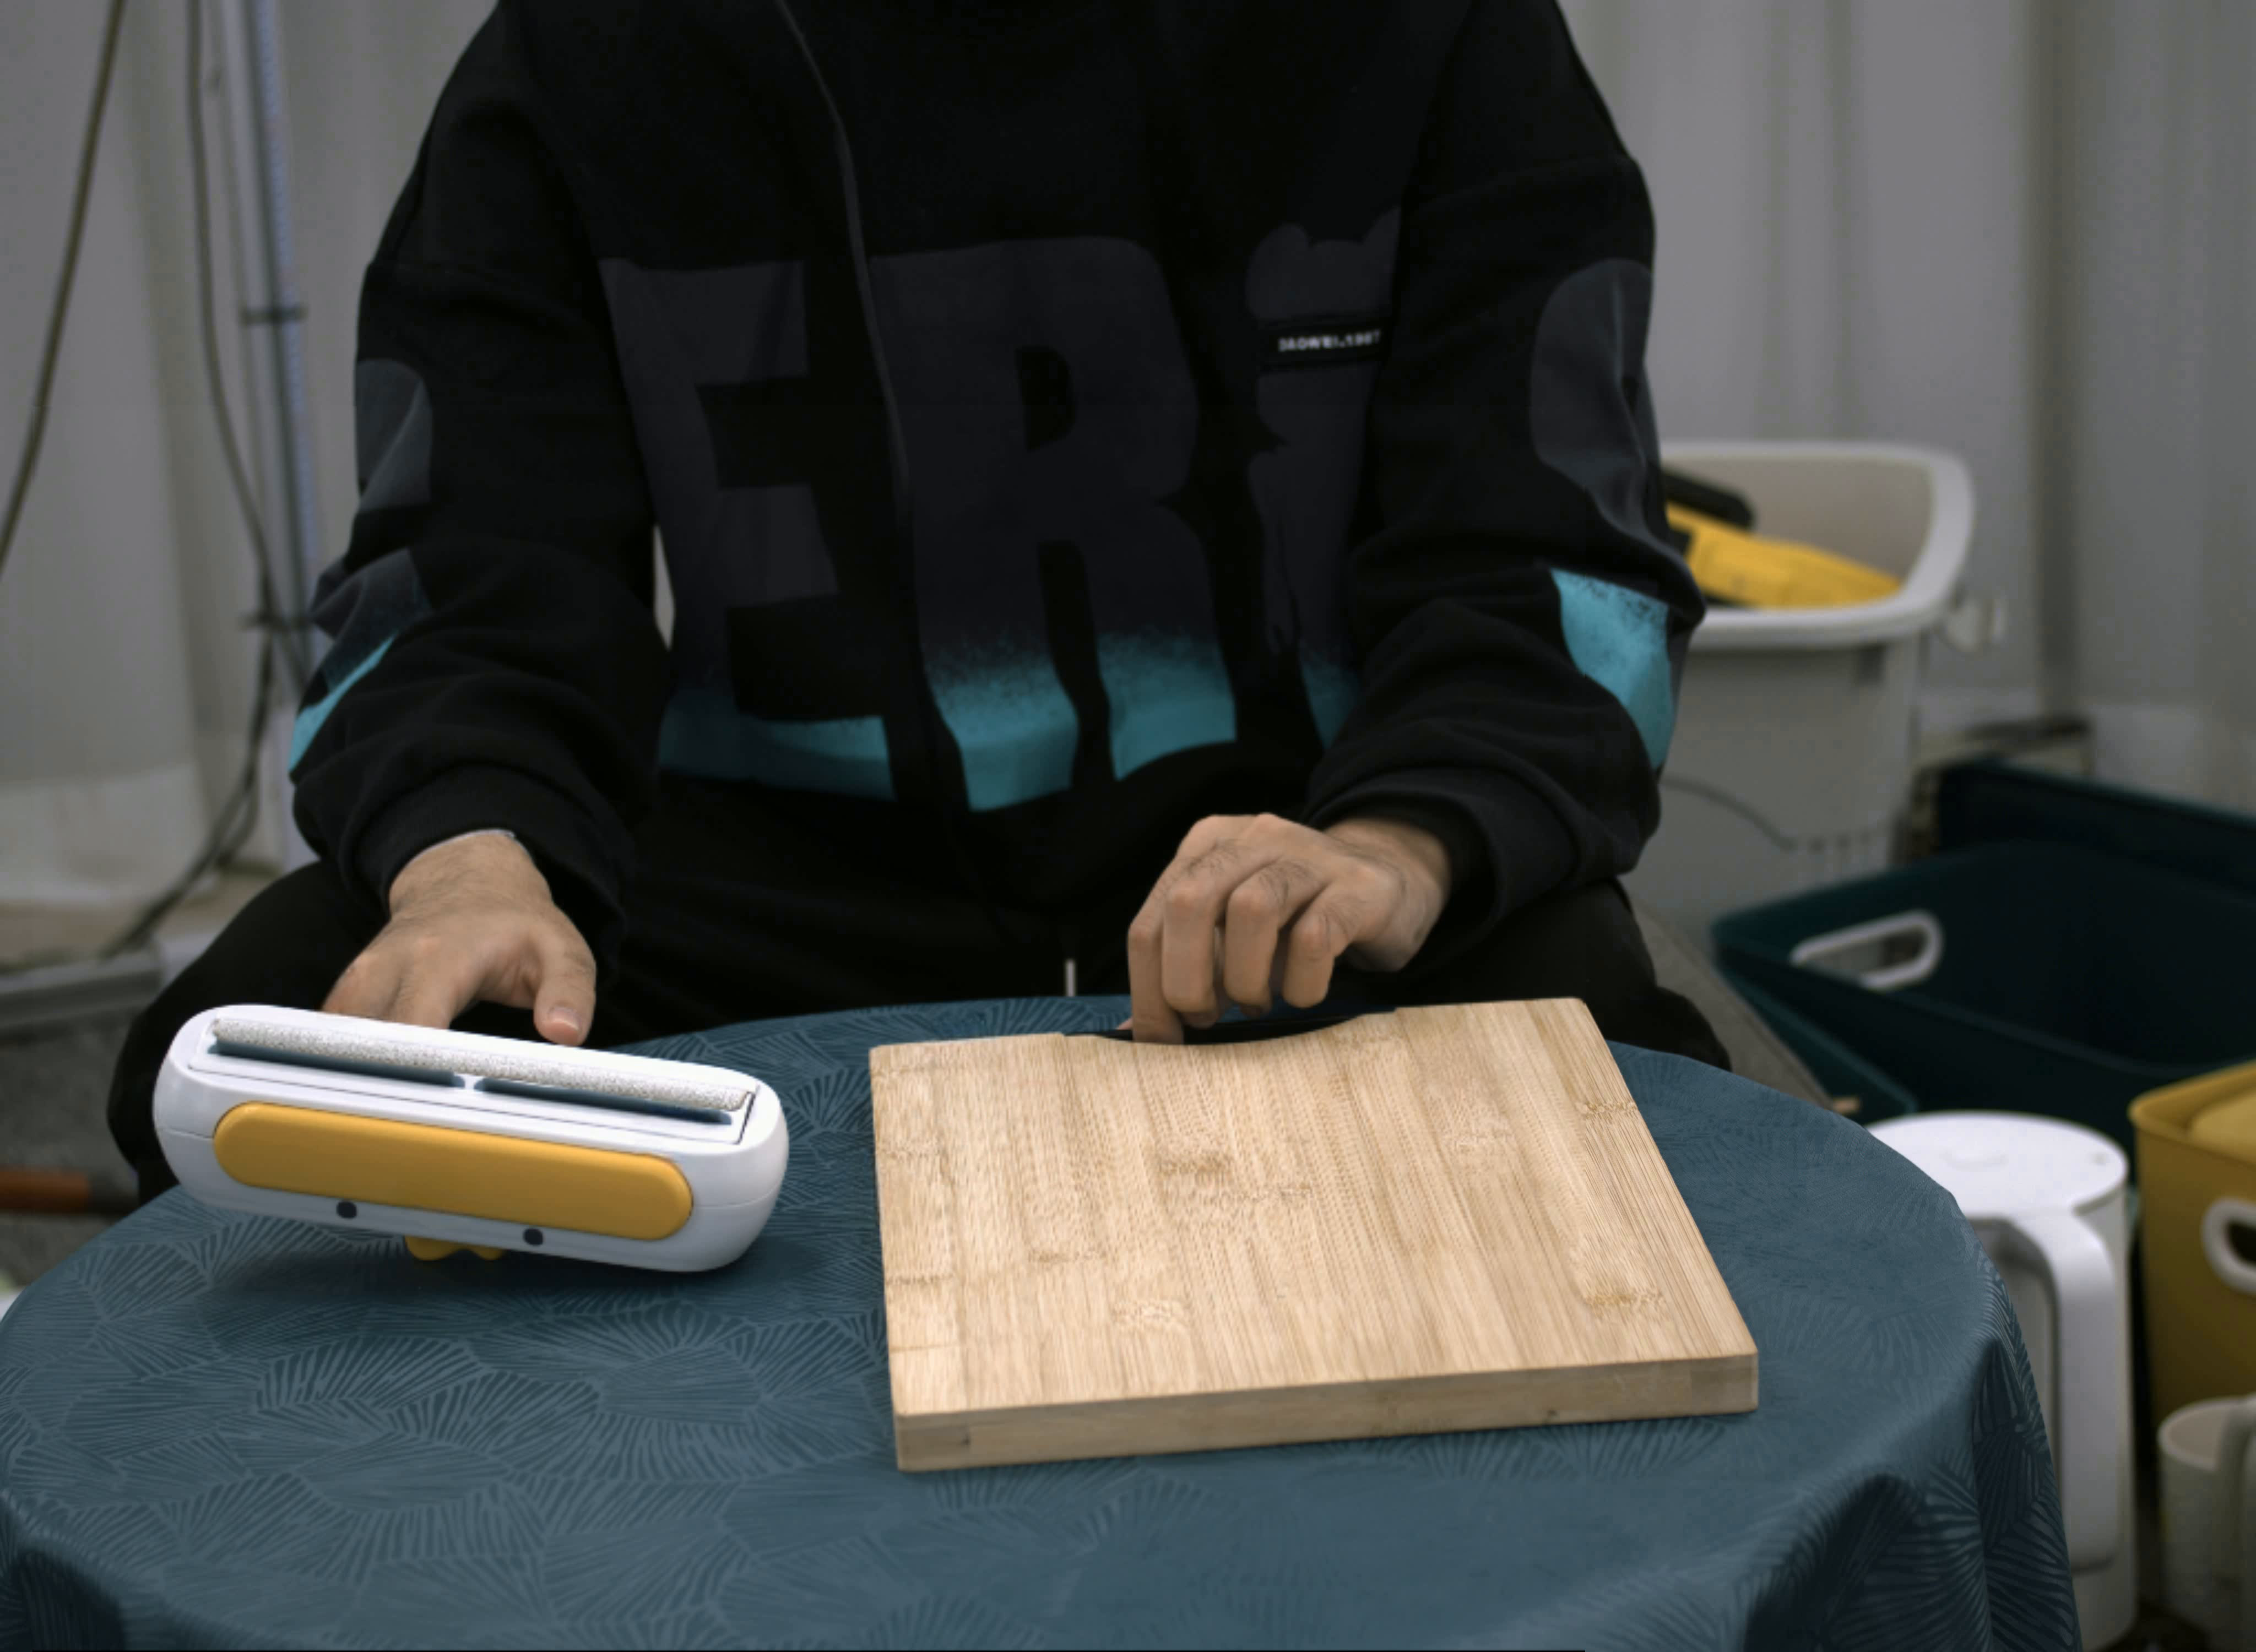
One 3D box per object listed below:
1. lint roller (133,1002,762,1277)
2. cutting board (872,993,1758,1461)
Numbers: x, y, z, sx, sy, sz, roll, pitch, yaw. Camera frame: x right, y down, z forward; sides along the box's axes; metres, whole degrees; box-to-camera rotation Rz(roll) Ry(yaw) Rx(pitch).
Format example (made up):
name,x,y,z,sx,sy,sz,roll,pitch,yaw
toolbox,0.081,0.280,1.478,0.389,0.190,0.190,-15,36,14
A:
name,x,y,z,sx,sy,sz,roll,pitch,yaw
lint roller,-0.200,0.088,1.726,0.192,0.074,0.193,4,14,7
cutting board,0.044,0.117,1.666,0.250,0.023,0.351,-4,15,-3
